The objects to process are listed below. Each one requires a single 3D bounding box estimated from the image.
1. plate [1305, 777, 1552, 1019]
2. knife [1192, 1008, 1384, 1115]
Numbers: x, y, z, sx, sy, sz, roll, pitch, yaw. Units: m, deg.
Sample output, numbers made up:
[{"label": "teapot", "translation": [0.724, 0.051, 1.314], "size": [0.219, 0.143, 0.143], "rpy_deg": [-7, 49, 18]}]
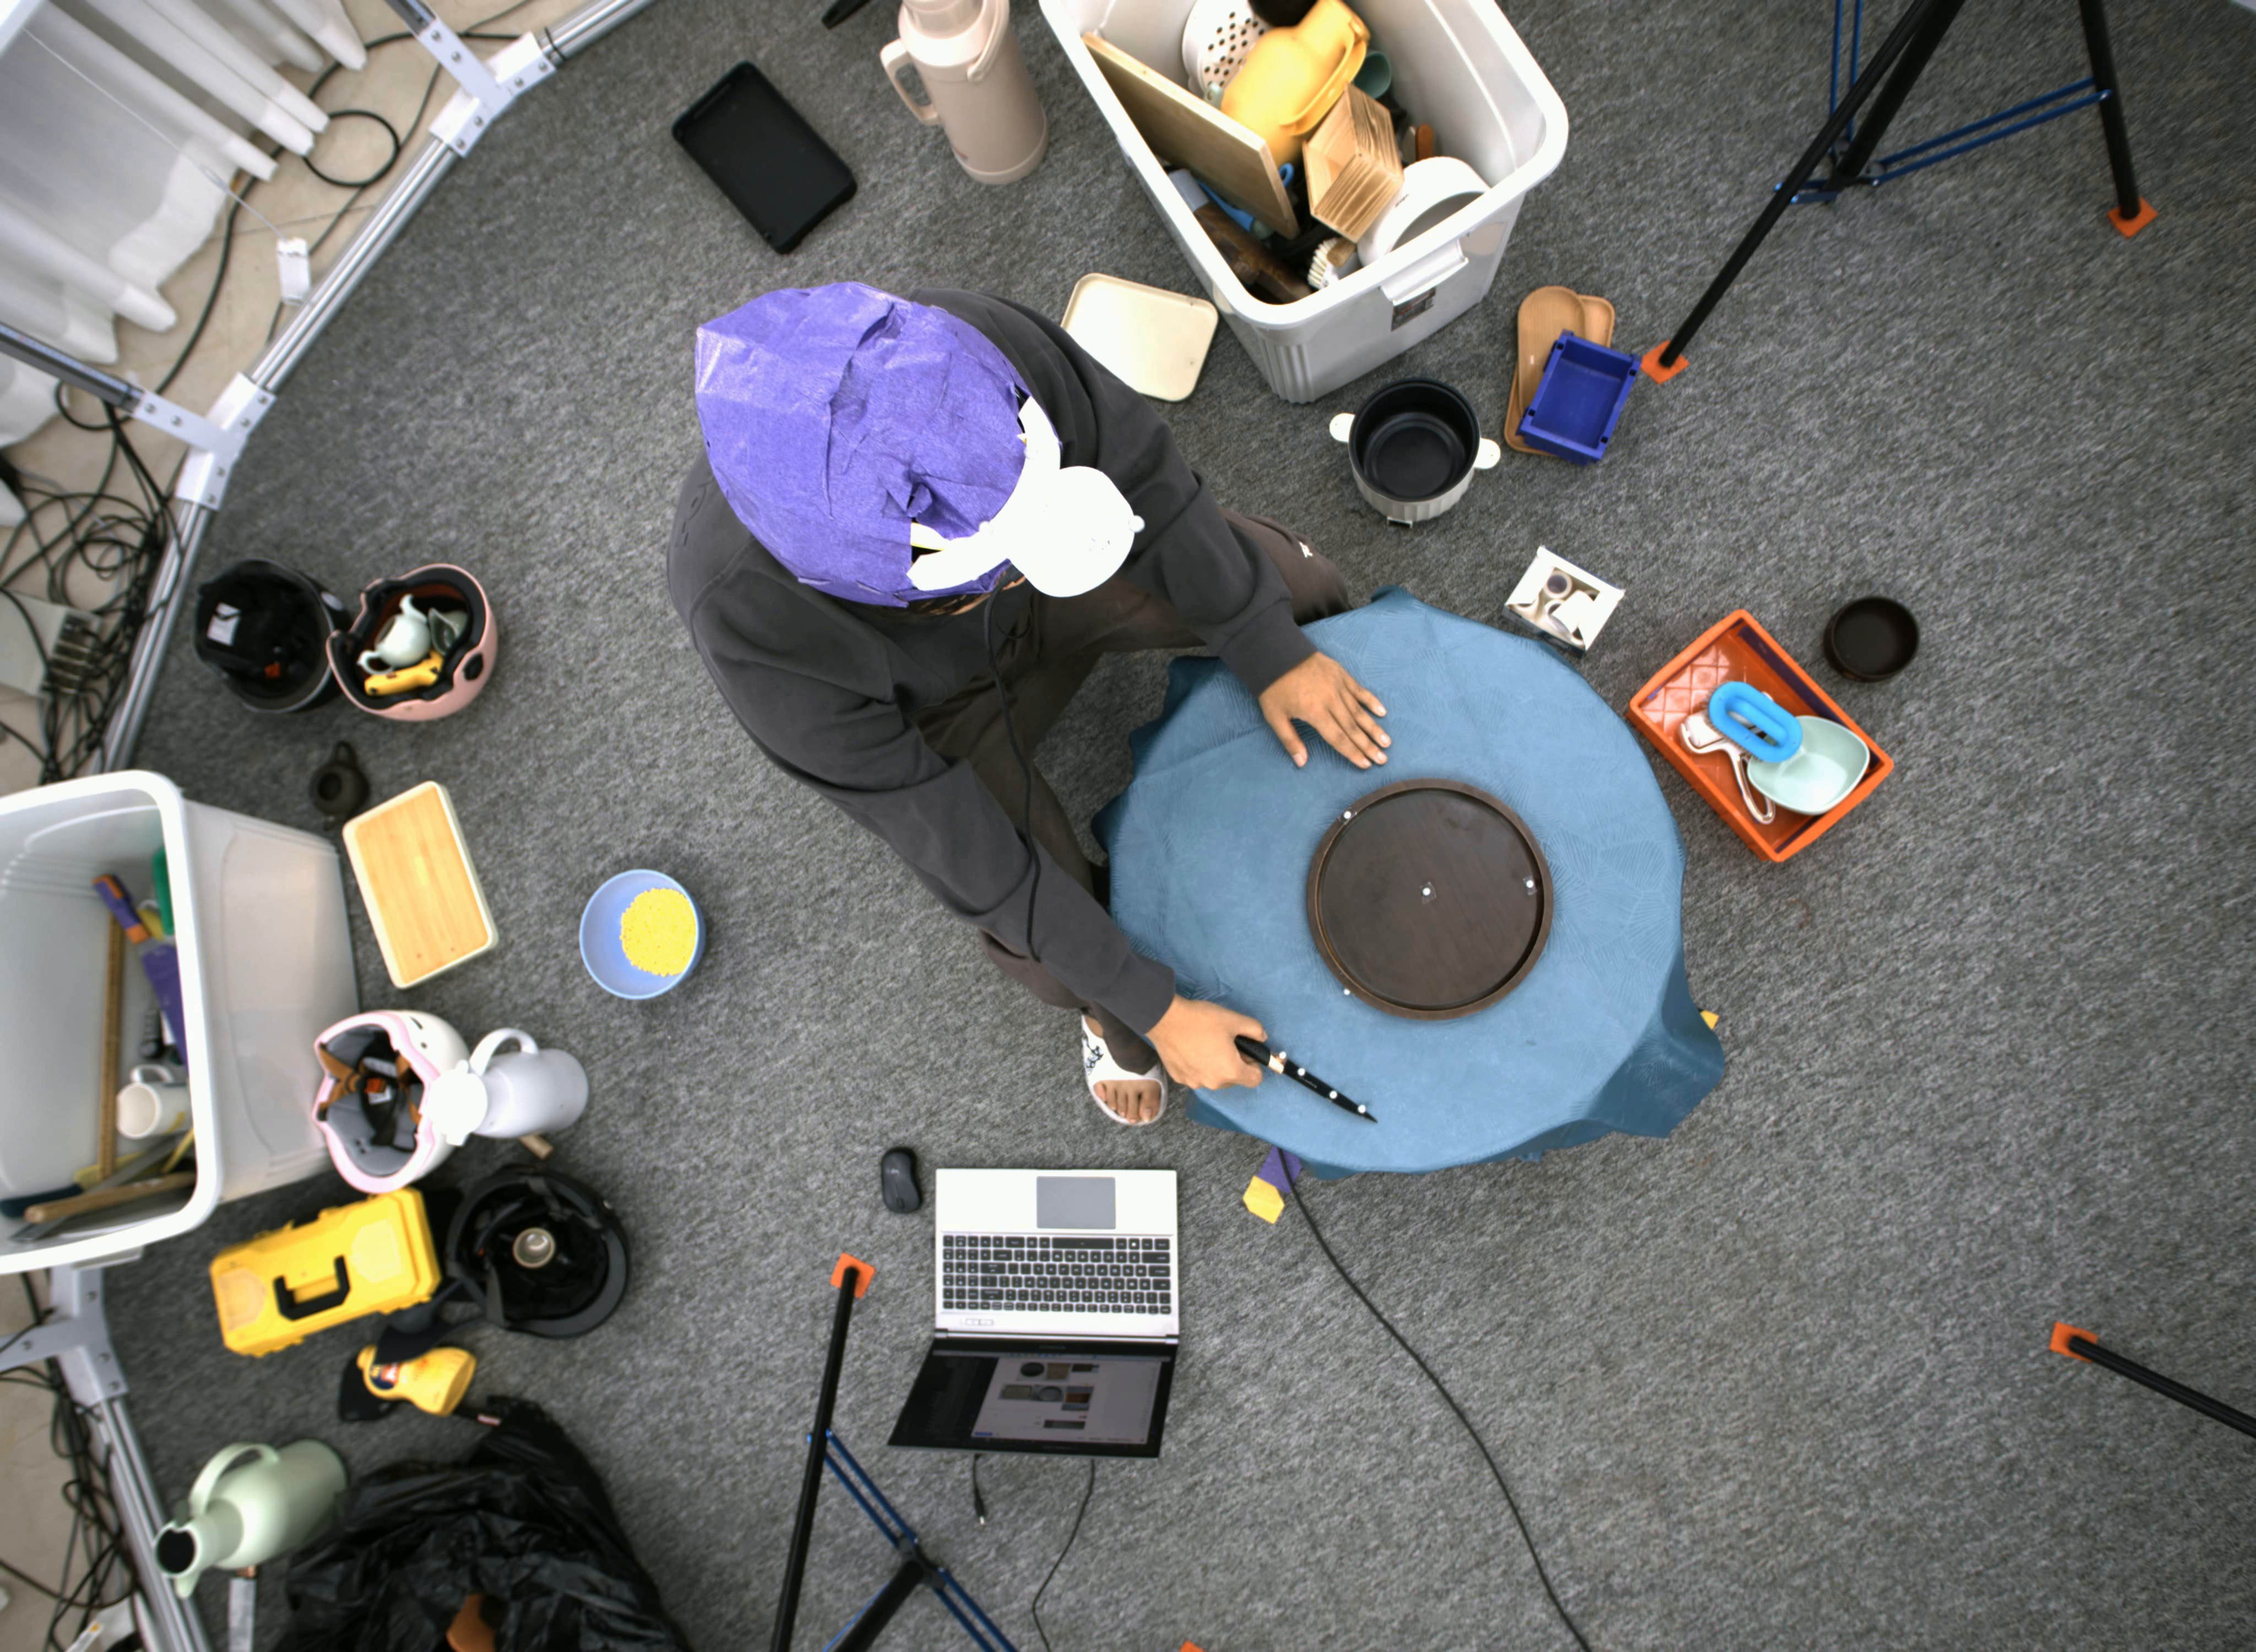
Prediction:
[{"label": "plate", "translation": [0.313, 0.073, 1.441], "size": [0.256, 0.029, 0.253], "rpy_deg": [-1, 86, 12]}, {"label": "knife", "translation": [0.168, 0.249, 1.456], "size": [0.225, 0.025, 0.017], "rpy_deg": [29, 123, 5]}]
